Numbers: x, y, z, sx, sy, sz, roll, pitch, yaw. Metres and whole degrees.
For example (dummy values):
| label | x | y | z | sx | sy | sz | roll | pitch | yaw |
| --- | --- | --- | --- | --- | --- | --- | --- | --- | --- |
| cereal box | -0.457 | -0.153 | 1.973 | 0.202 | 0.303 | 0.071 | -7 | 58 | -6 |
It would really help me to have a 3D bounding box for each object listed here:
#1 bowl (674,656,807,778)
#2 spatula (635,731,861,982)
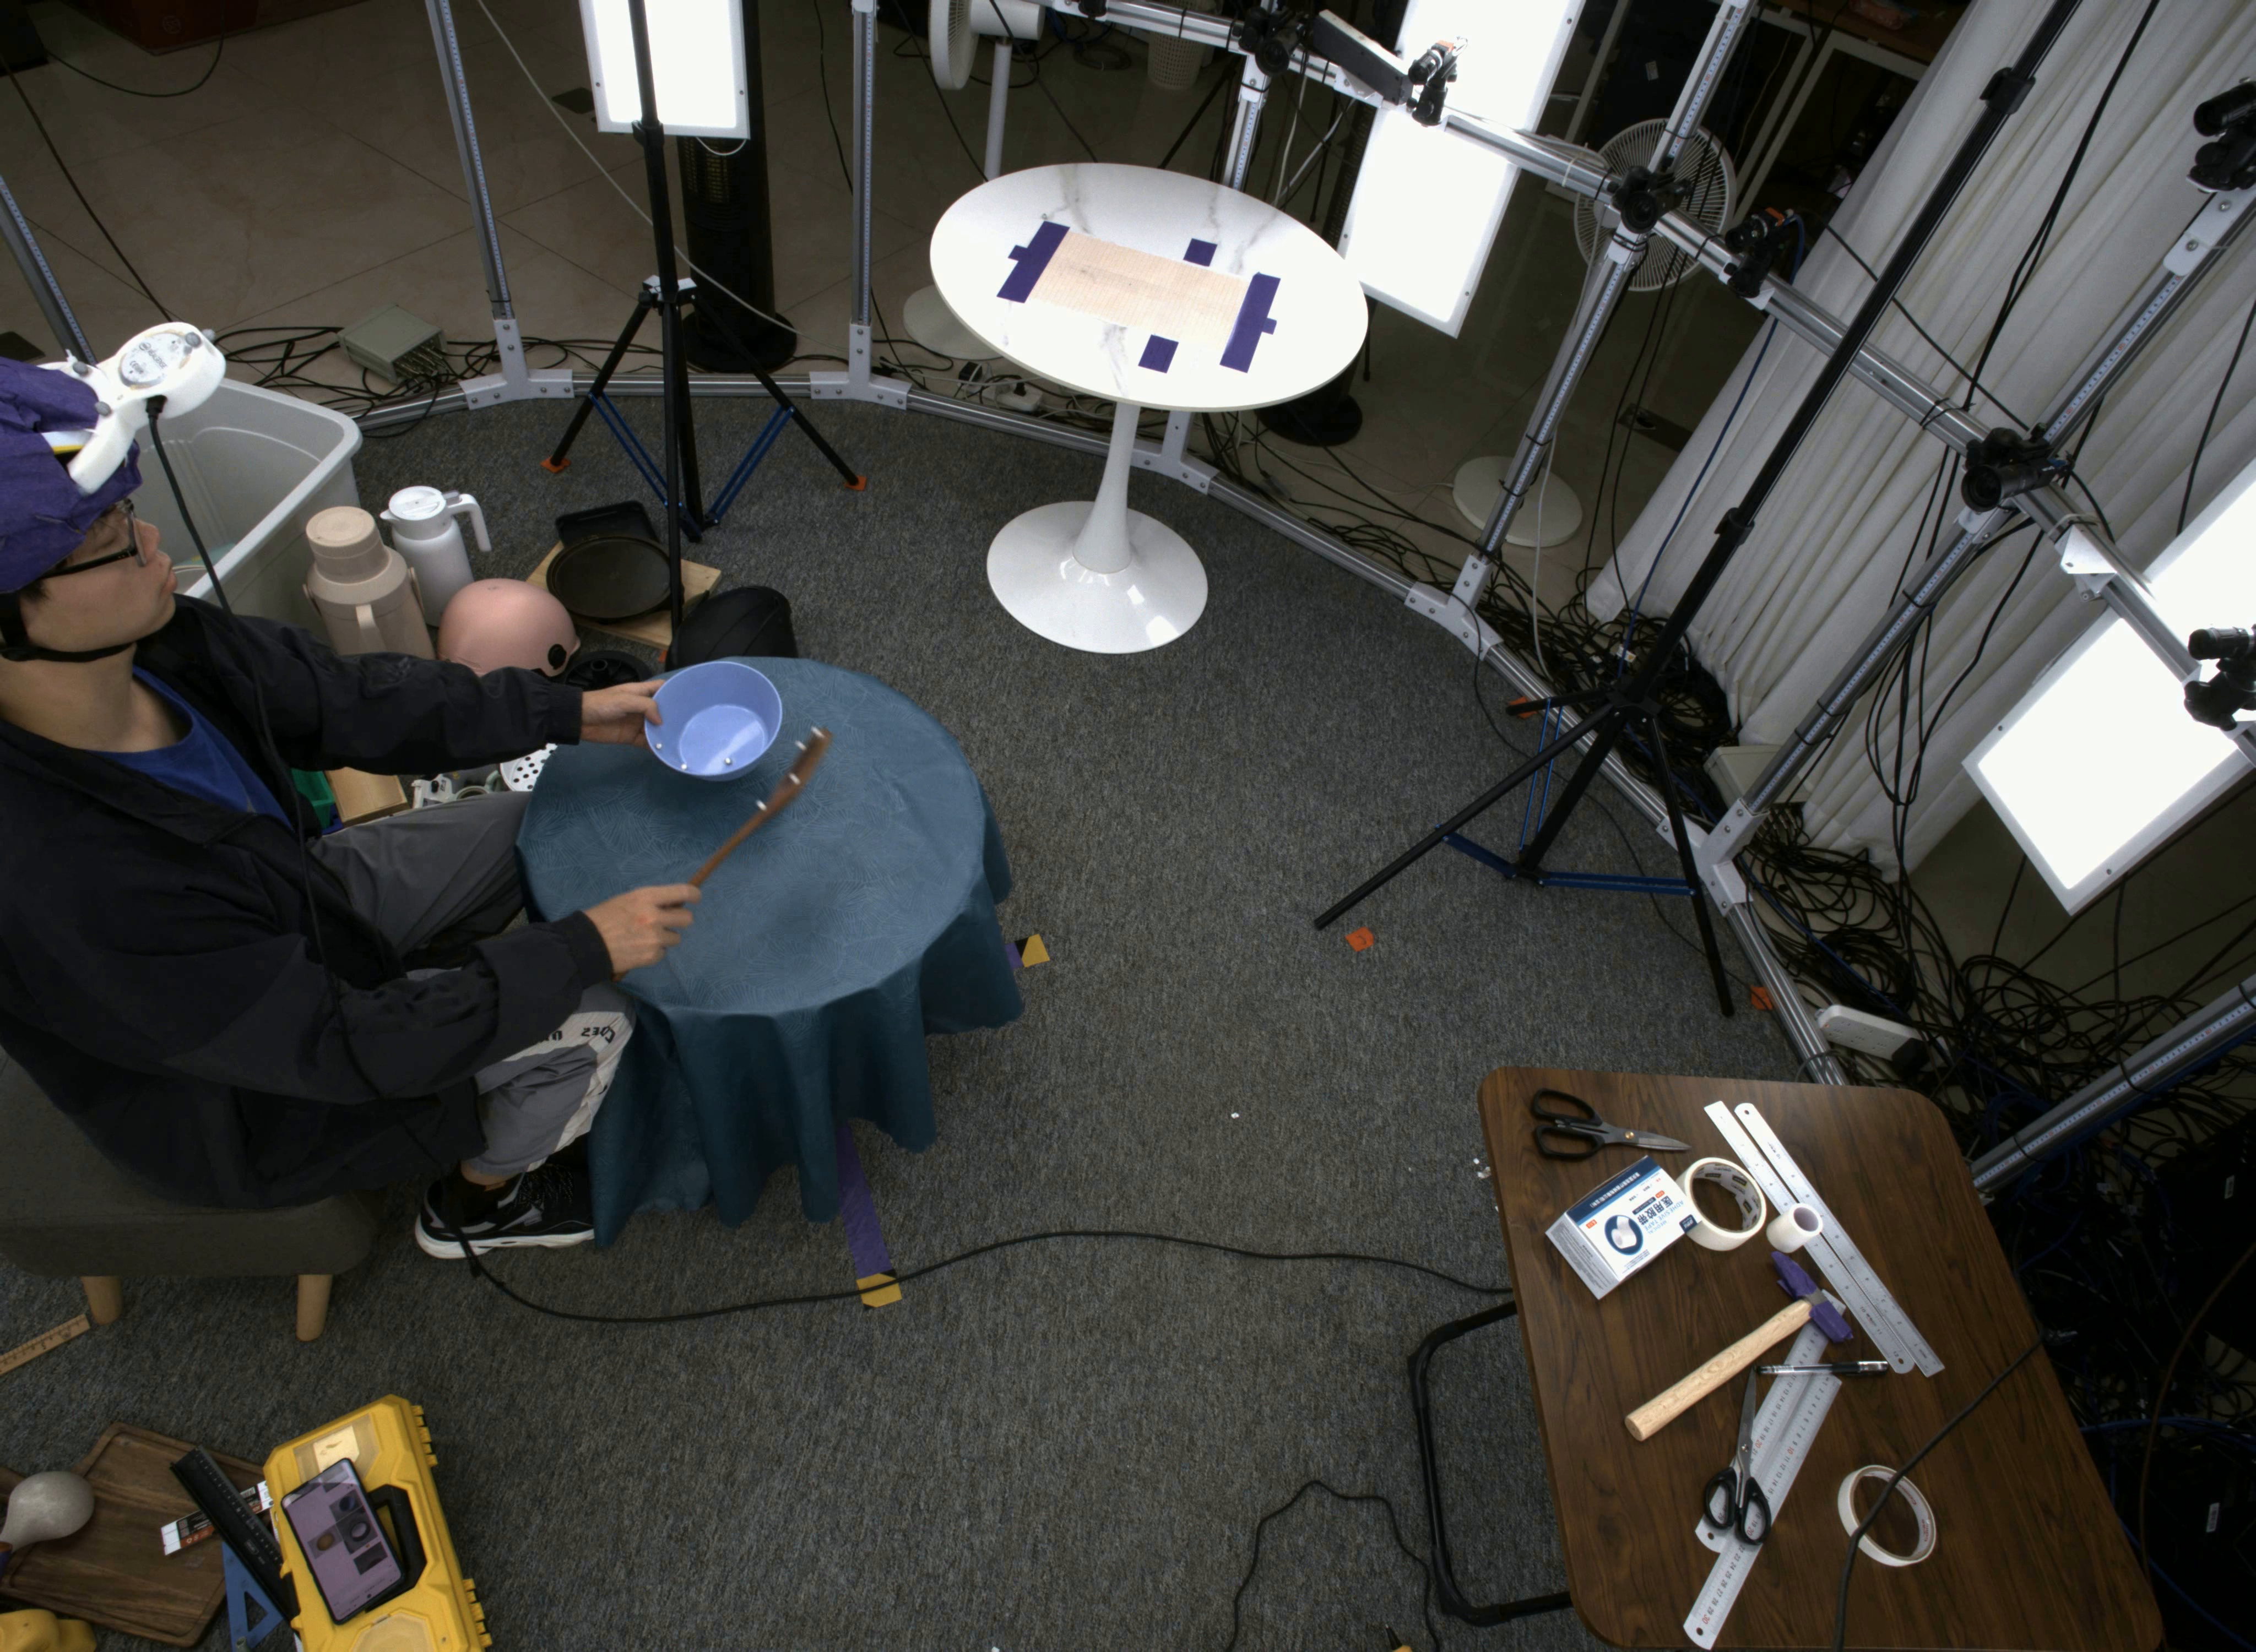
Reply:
| label | x | y | z | sx | sy | sz | roll | pitch | yaw |
| --- | --- | --- | --- | --- | --- | --- | --- | --- | --- |
| bowl | -0.506 | -0.132 | 1.710 | 0.174 | 0.072 | 0.174 | 2 | 64 | -2 |
| spatula | -0.447 | 0.033 | 1.532 | 0.387 | 0.083 | 0.025 | -50 | 116 | -16 |
